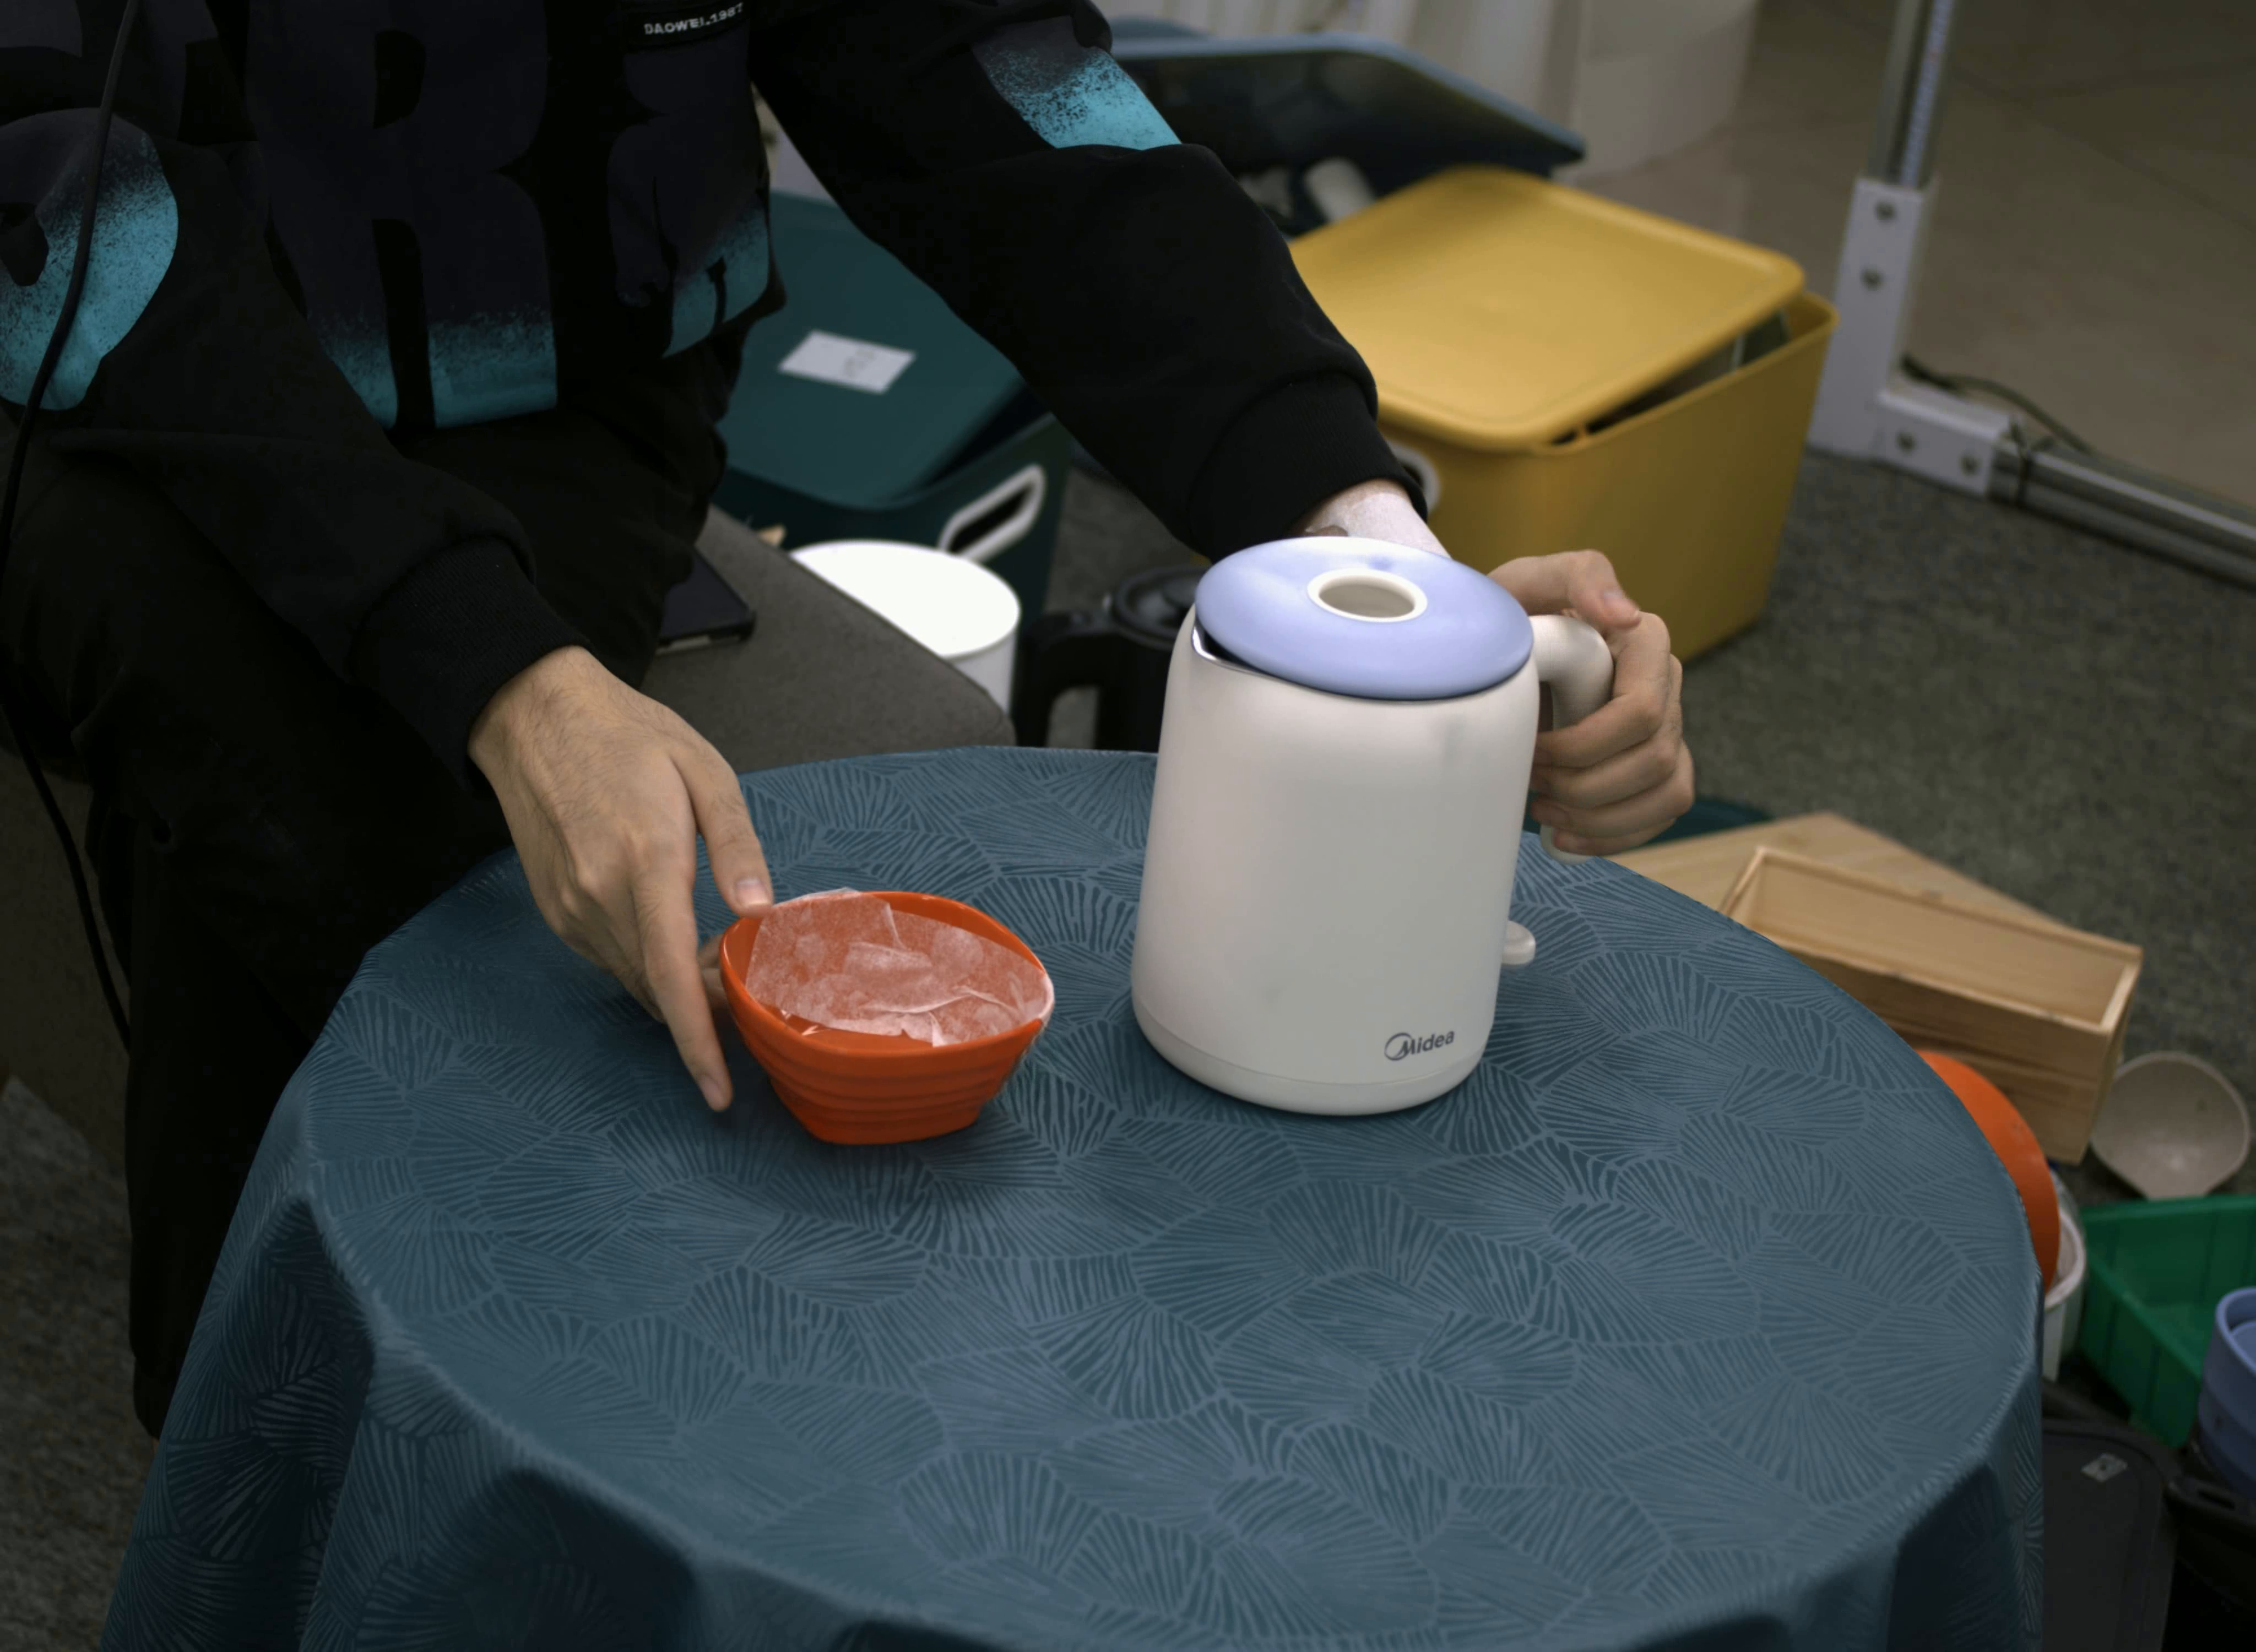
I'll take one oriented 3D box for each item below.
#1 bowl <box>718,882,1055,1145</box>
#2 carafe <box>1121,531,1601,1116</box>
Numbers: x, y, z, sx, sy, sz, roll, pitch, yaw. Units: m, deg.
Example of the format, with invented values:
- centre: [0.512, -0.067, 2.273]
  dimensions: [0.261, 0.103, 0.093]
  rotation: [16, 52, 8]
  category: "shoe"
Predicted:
- centre: [-0.085, 0.069, 1.828]
  dimensions: [0.118, 0.051, 0.120]
  rotation: [4, 30, -3]
  category: "bowl"
- centre: [0.091, -0.005, 1.885]
  dimensions: [0.190, 0.182, 0.133]
  rotation: [-10, 32, -34]
  category: "carafe"
